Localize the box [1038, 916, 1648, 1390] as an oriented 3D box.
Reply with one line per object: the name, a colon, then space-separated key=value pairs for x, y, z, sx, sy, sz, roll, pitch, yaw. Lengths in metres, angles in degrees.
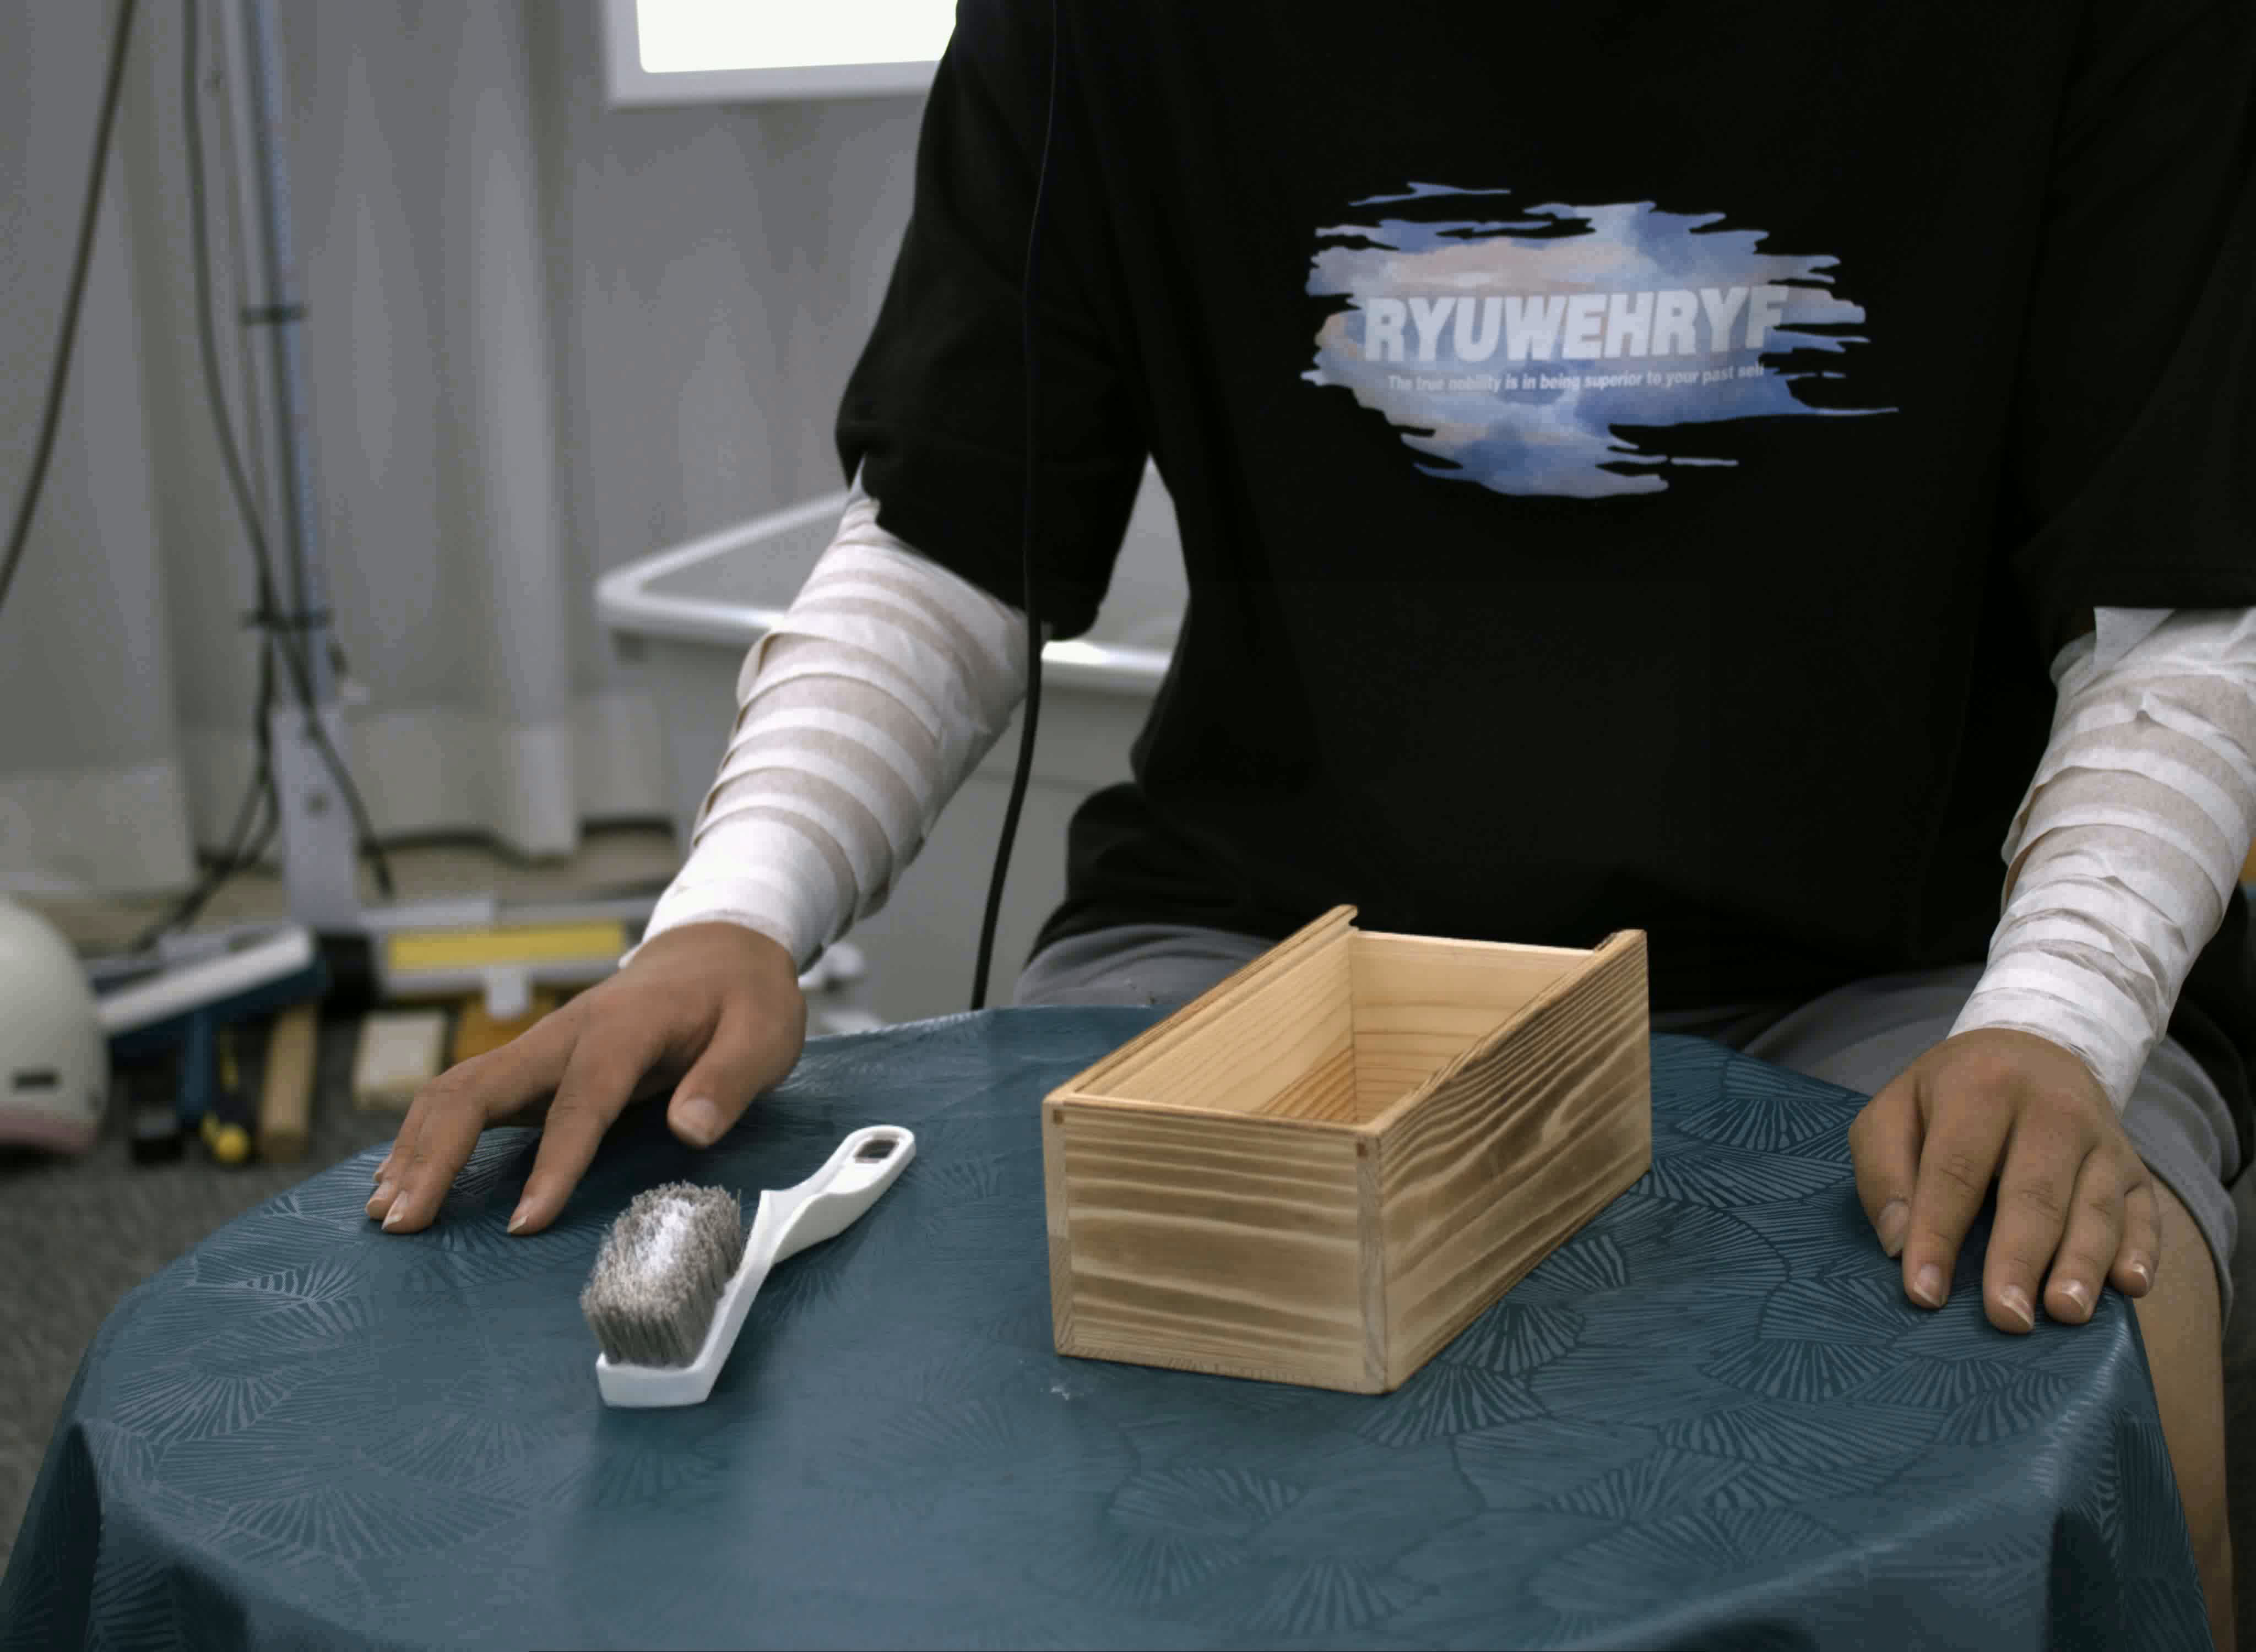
box: x=0.068 y=0.093 z=1.629 sx=0.107 sy=0.080 sz=0.212 roll=3 pitch=15 yaw=25

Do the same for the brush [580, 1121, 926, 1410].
brush: x=-0.108 y=0.112 z=1.644 sx=0.034 sy=0.050 sz=0.244 roll=2 pitch=16 yaw=16
